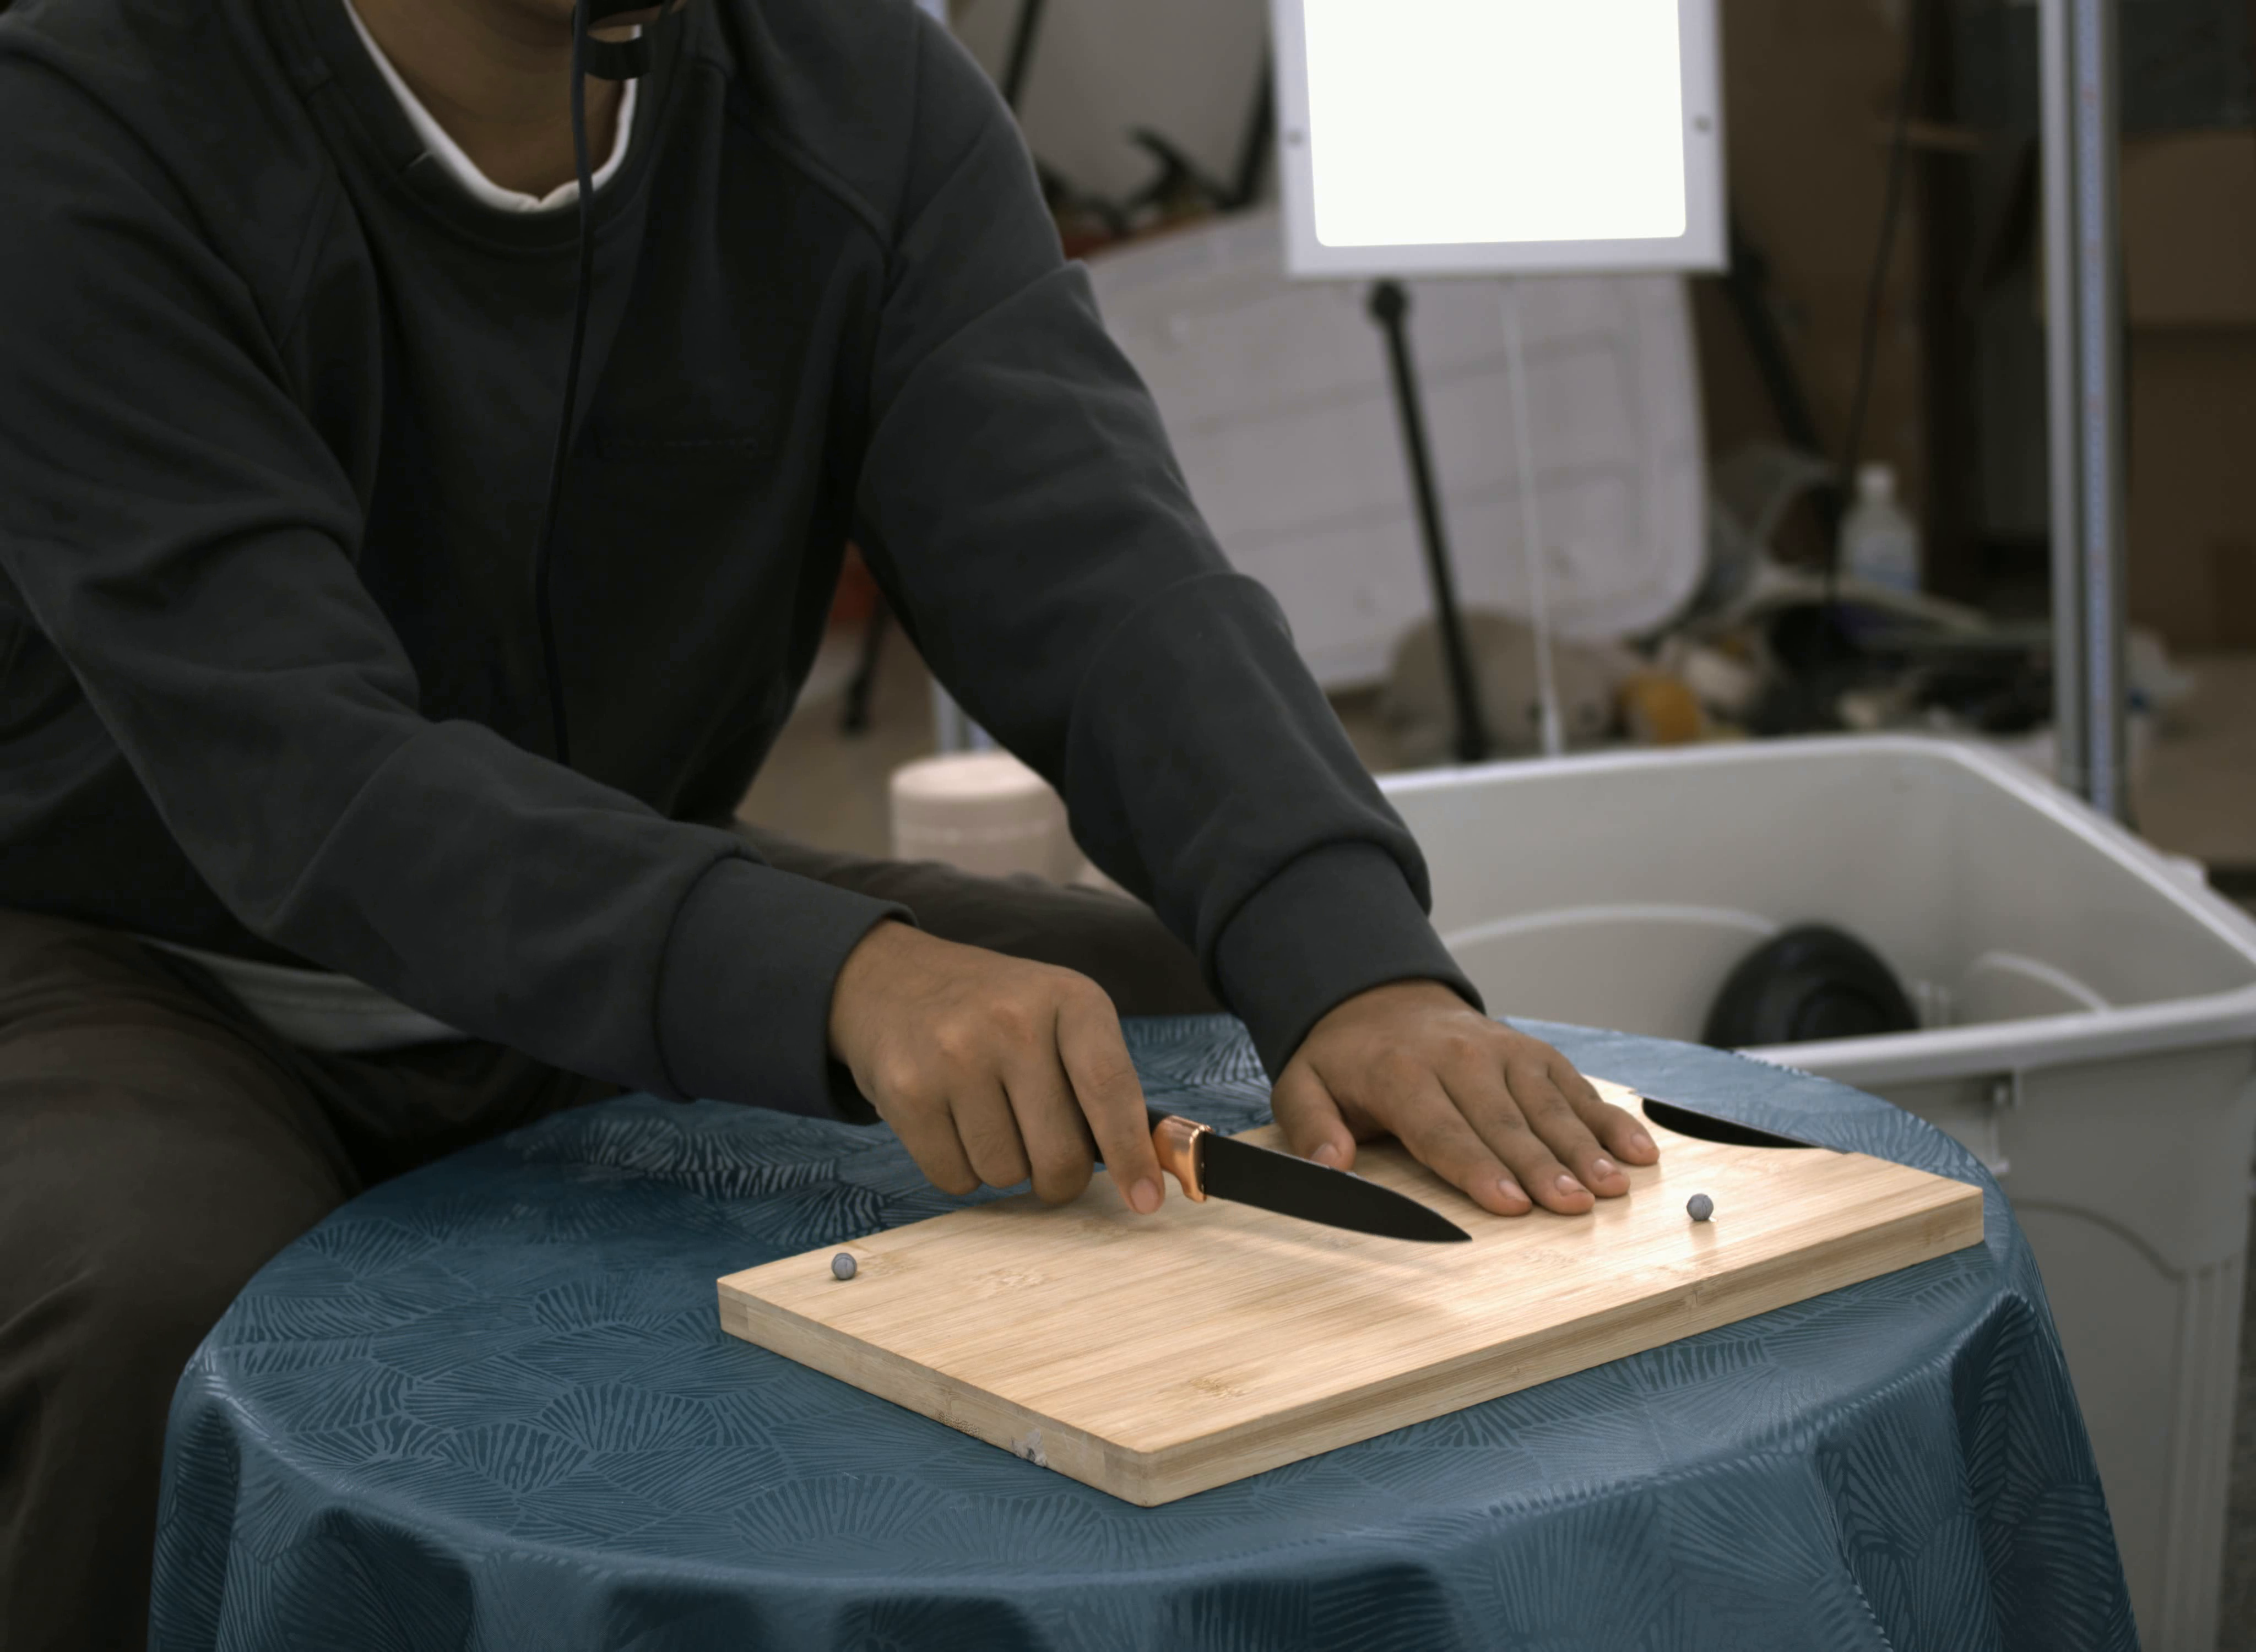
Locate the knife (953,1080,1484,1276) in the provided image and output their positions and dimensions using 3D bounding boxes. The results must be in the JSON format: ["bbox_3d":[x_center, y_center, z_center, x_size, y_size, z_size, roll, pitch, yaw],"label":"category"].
[{"bbox_3d":[0.027,0.113,1.782,0.230,0.026,0.017,14,16,41],"label":"knife"}]

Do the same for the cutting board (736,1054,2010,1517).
[{"bbox_3d":[0.078,0.140,1.779,0.340,0.023,0.256,-14,16,-33],"label":"cutting board"}]
